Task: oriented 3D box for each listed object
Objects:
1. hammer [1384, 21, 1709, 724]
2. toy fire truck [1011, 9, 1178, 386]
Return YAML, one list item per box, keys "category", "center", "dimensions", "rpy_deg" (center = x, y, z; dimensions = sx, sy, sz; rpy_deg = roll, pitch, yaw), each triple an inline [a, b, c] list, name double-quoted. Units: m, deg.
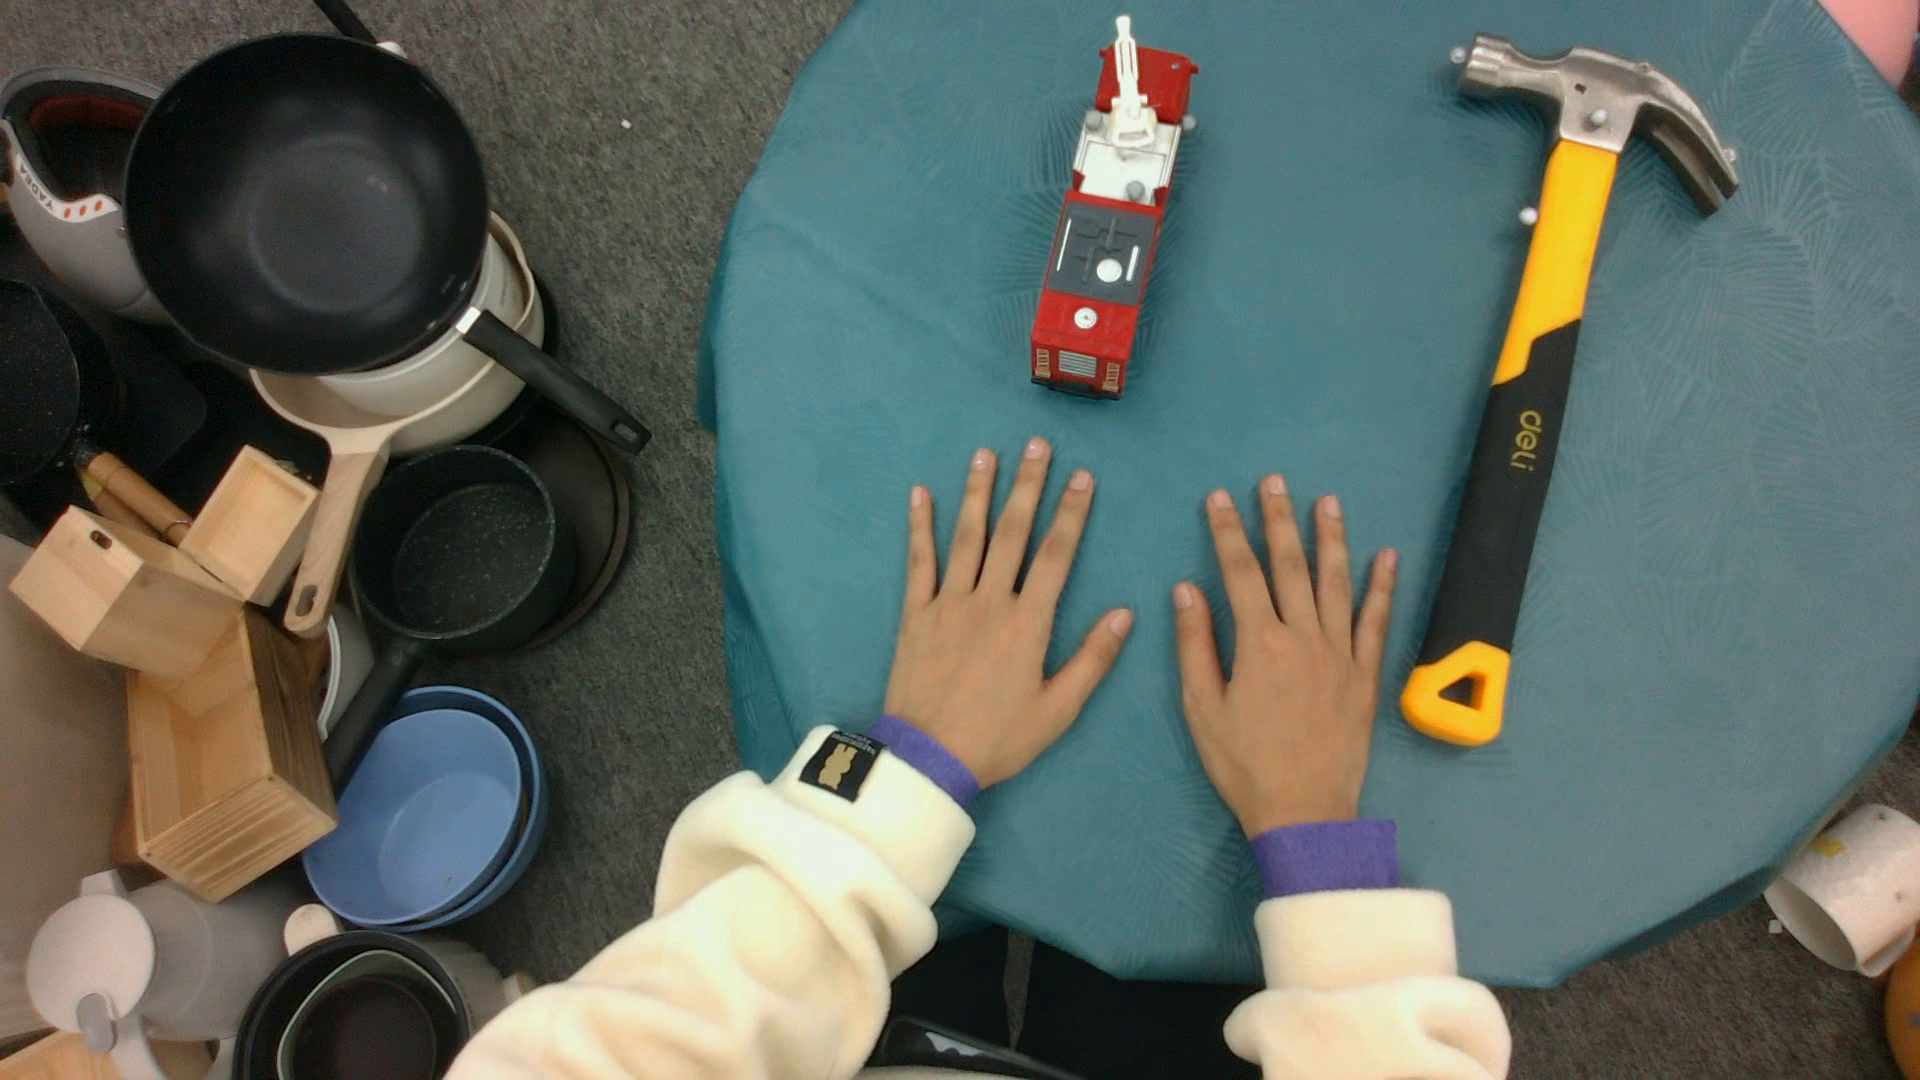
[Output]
- category: "hammer"
  center: [0.252, -0.080, 0.632]
  dimensions: [0.131, 0.032, 0.339]
  rpy_deg: [17, 76, 6]
- category: "toy fire truck"
  center: [0.063, -0.159, 0.652]
  dimensions: [0.054, 0.070, 0.168]
  rpy_deg: [12, 78, 6]
